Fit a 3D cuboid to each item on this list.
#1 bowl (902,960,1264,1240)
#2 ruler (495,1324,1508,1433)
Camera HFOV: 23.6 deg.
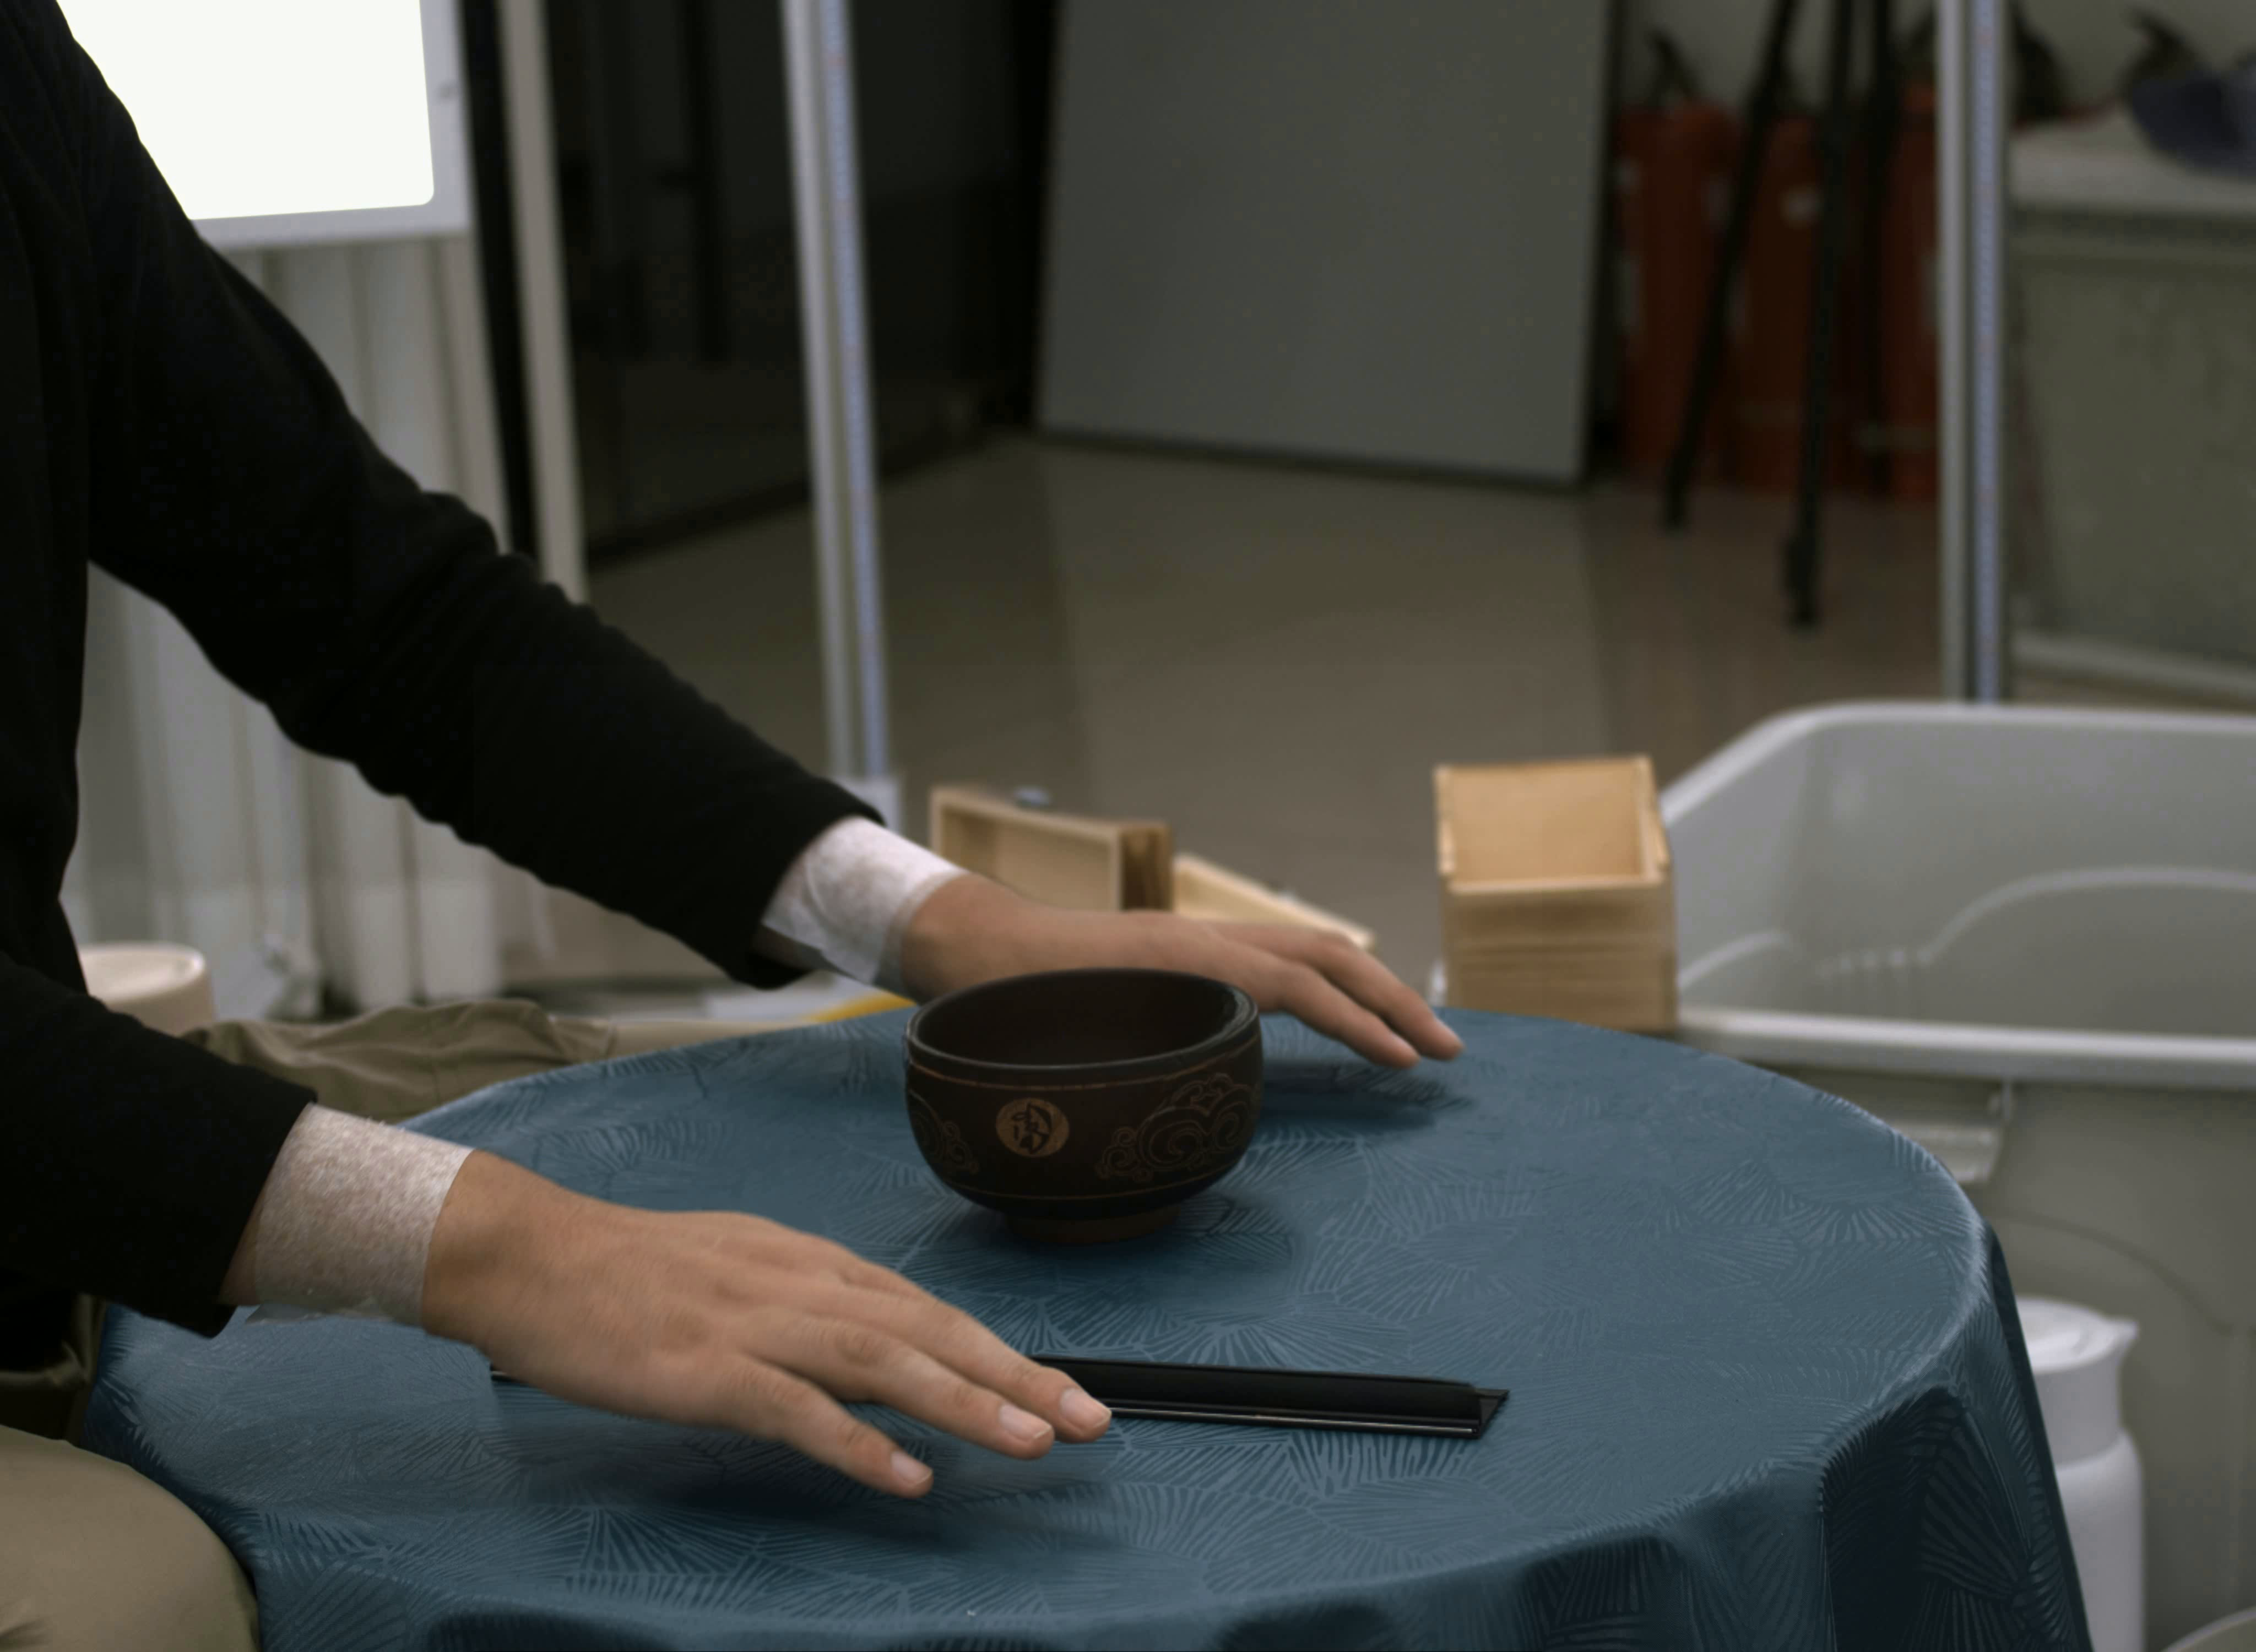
[{"bbox_3d":[-0.013,0.092,1.739,0.116,0.070,0.118,-3,13,0],"label":"bowl"},{"bbox_3d":[-0.040,0.159,1.595,0.312,0.017,0.039,1,10,20],"label":"ruler"}]
